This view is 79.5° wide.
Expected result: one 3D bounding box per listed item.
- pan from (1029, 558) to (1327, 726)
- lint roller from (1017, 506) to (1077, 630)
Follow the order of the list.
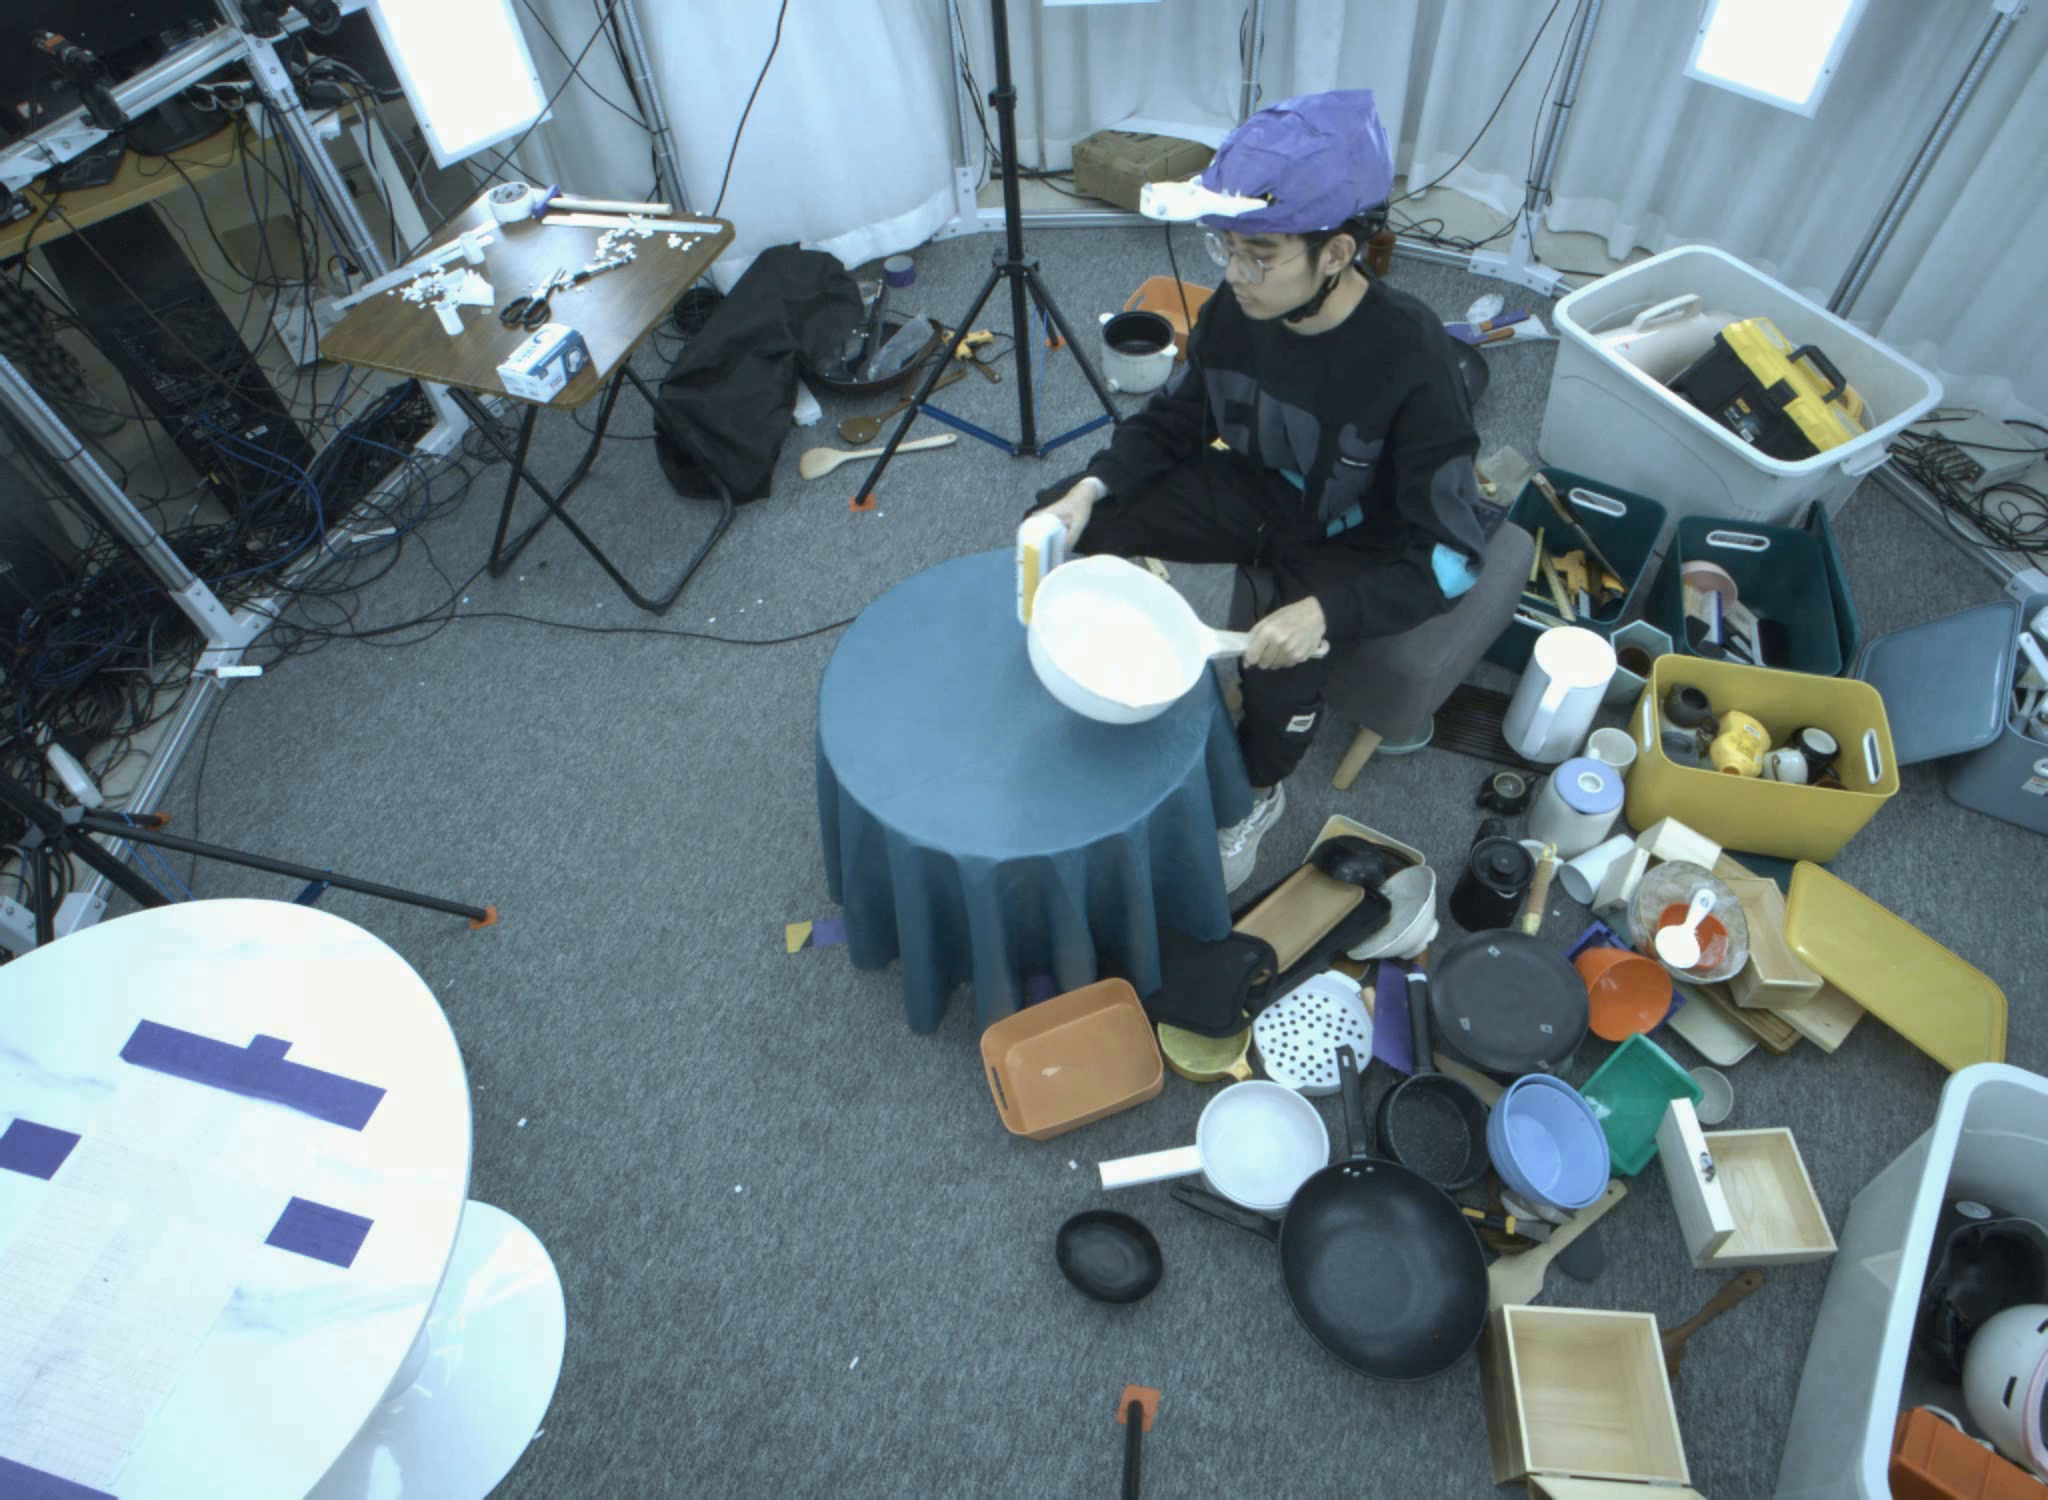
[{"bbox_3d":[0.213,-0.138,1.725,0.441,0.102,0.260,5,55,-19],"label":"pan"},{"bbox_3d":[0.048,-0.299,1.861,0.073,0.194,0.193,17,39,21],"label":"lint roller"}]
